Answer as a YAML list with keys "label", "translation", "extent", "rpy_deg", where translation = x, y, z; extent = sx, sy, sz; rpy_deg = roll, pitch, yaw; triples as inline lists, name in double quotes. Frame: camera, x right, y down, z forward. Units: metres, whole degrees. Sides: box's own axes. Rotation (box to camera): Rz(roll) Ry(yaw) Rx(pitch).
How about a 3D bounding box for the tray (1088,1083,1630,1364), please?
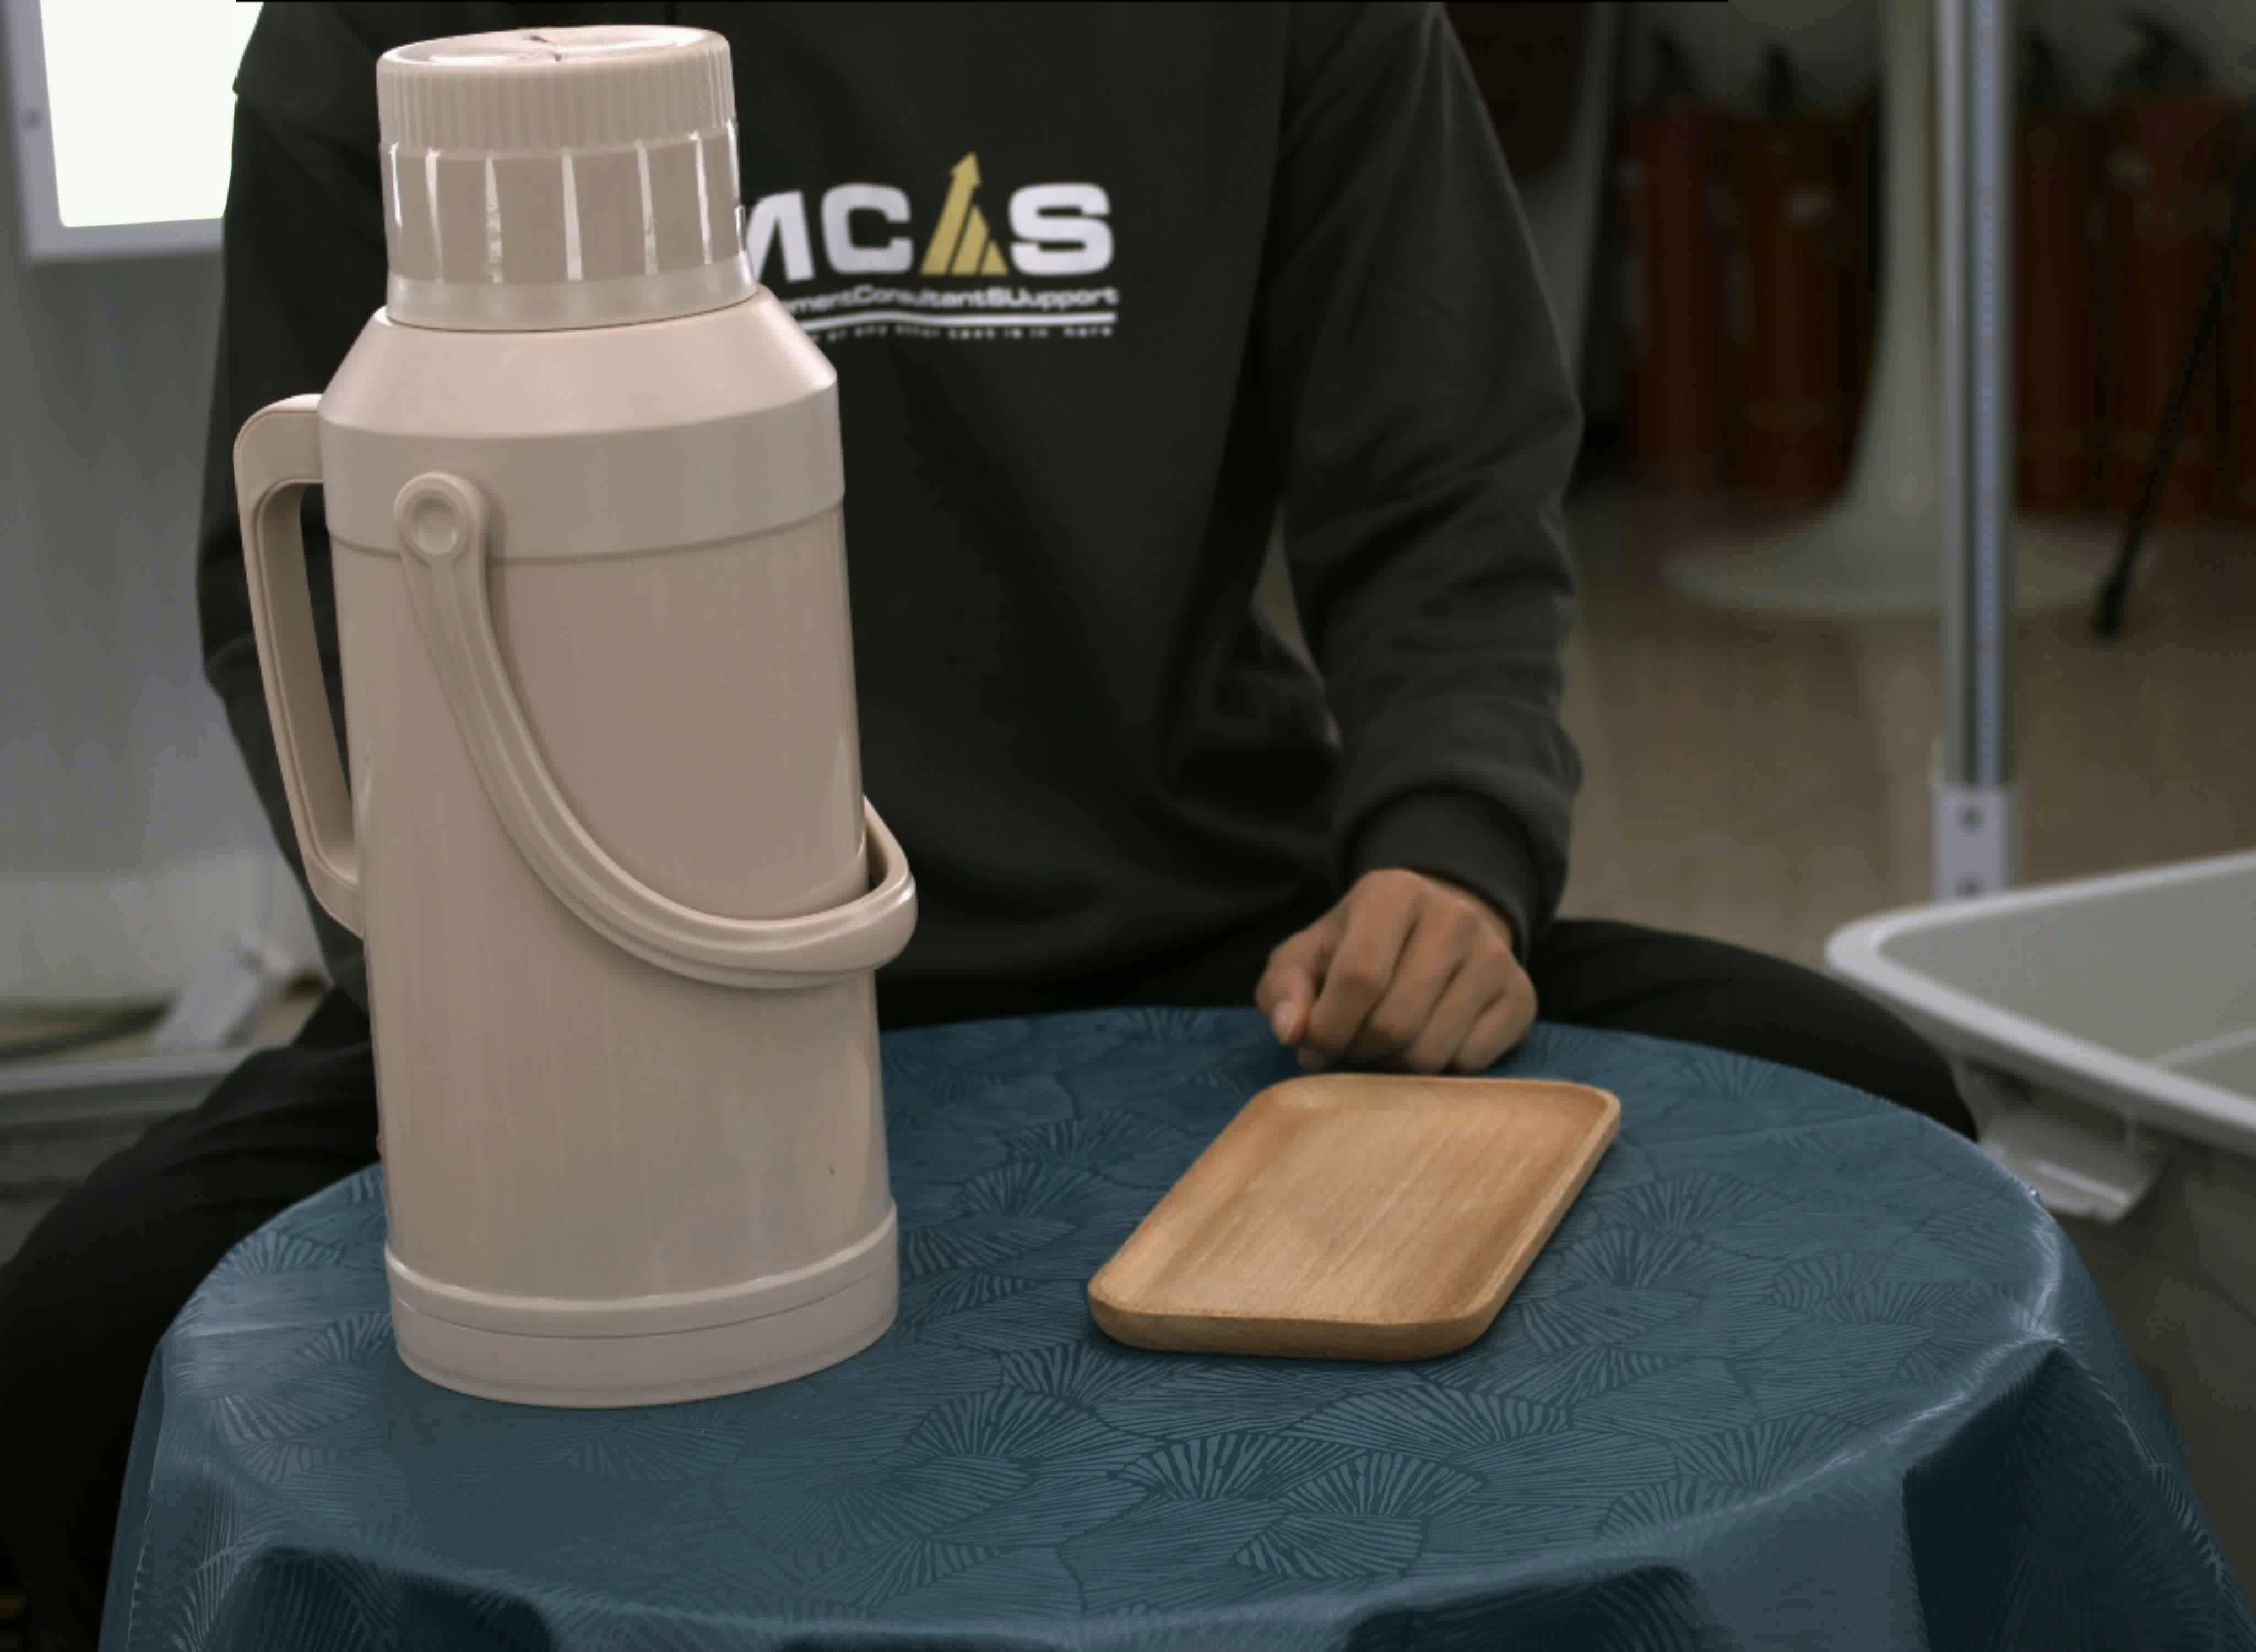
- label: "tray"
  translation: [0.077, 0.124, 1.713]
  extent: [0.130, 0.023, 0.248]
  rpy_deg: [3, 14, 18]

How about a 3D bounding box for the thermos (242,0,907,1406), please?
- label: "thermos"
  translation: [-0.169, -0.040, 1.640]
  extent: [0.207, 0.411, 0.173]
  rpy_deg: [3, 15, 24]
